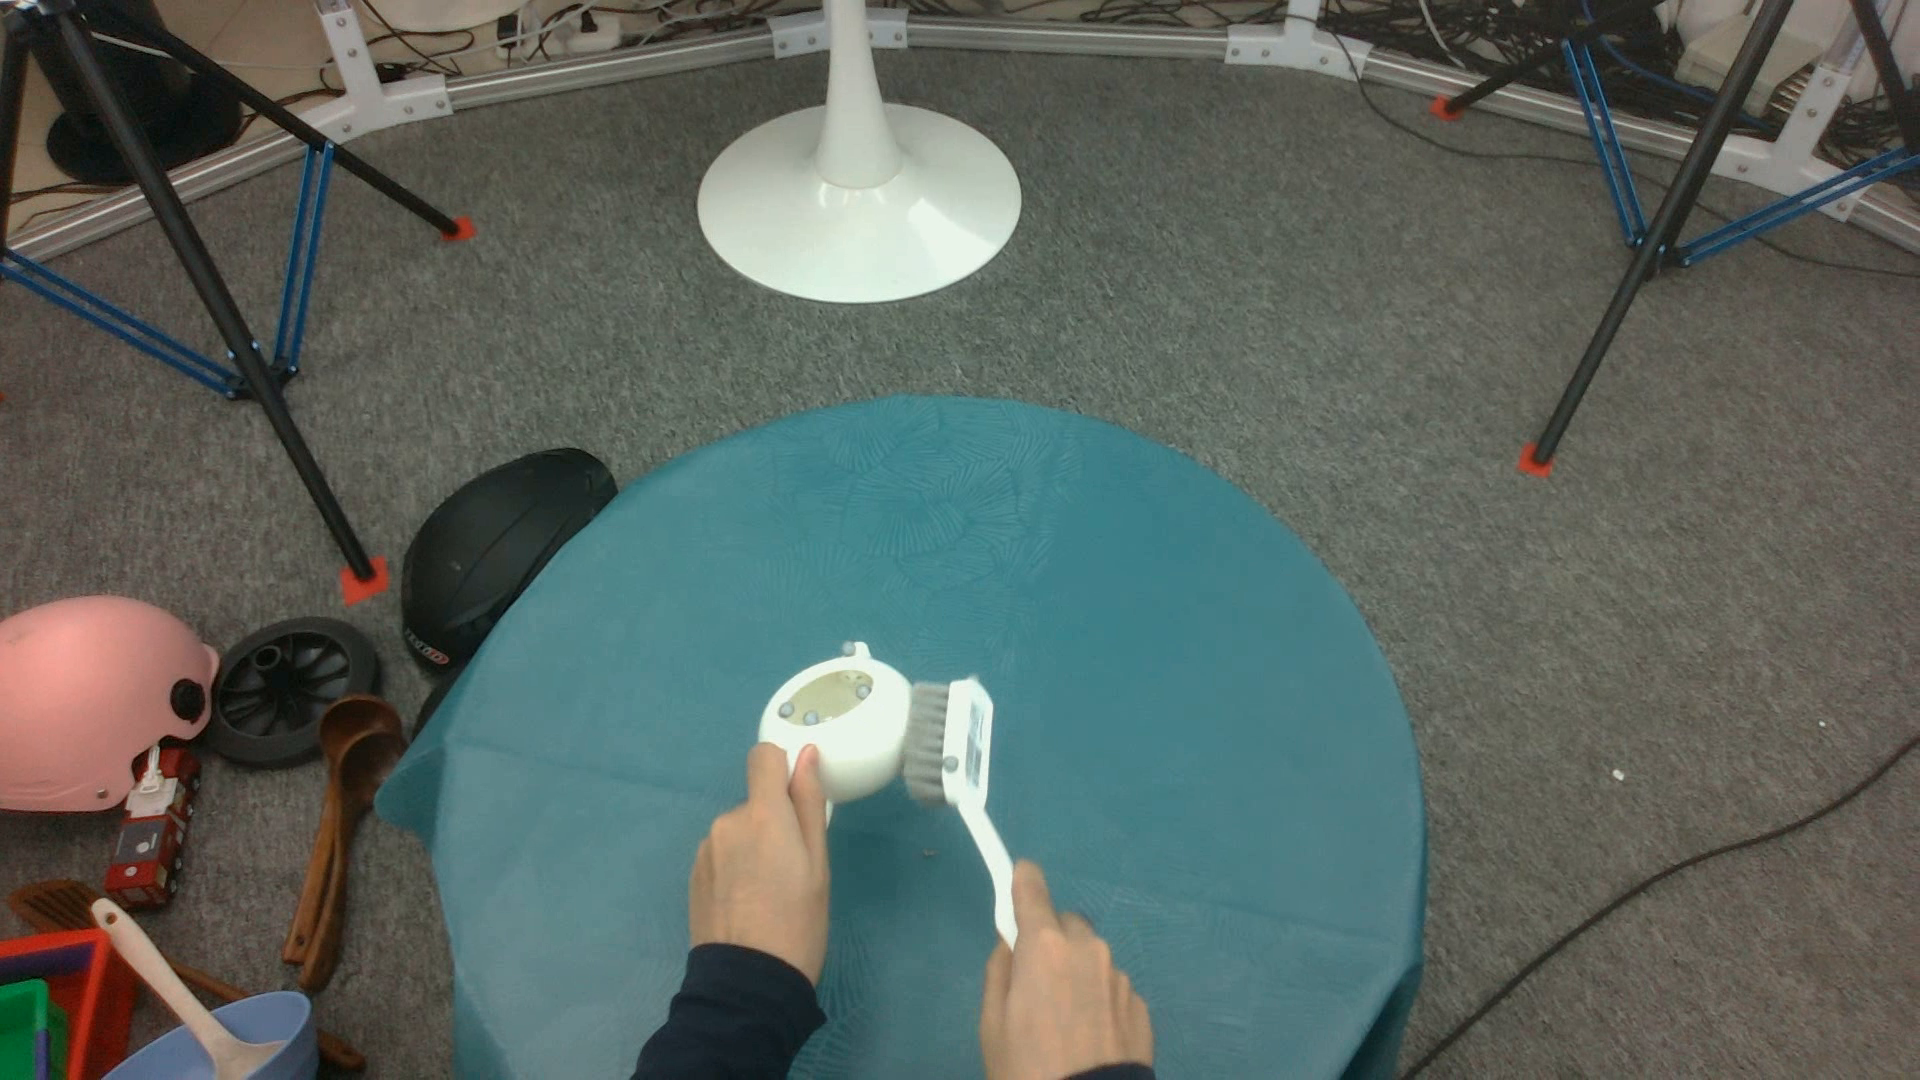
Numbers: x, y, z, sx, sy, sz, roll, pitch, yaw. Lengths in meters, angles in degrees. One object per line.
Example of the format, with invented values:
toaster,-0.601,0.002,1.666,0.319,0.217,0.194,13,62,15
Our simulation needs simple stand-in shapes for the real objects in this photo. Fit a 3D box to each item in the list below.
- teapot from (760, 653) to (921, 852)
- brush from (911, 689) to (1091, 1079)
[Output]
teapot,-0.069,0.119,0.770,0.093,0.056,0.128,-5,30,18
brush,0.015,0.179,0.700,0.050,0.034,0.244,-23,52,9
